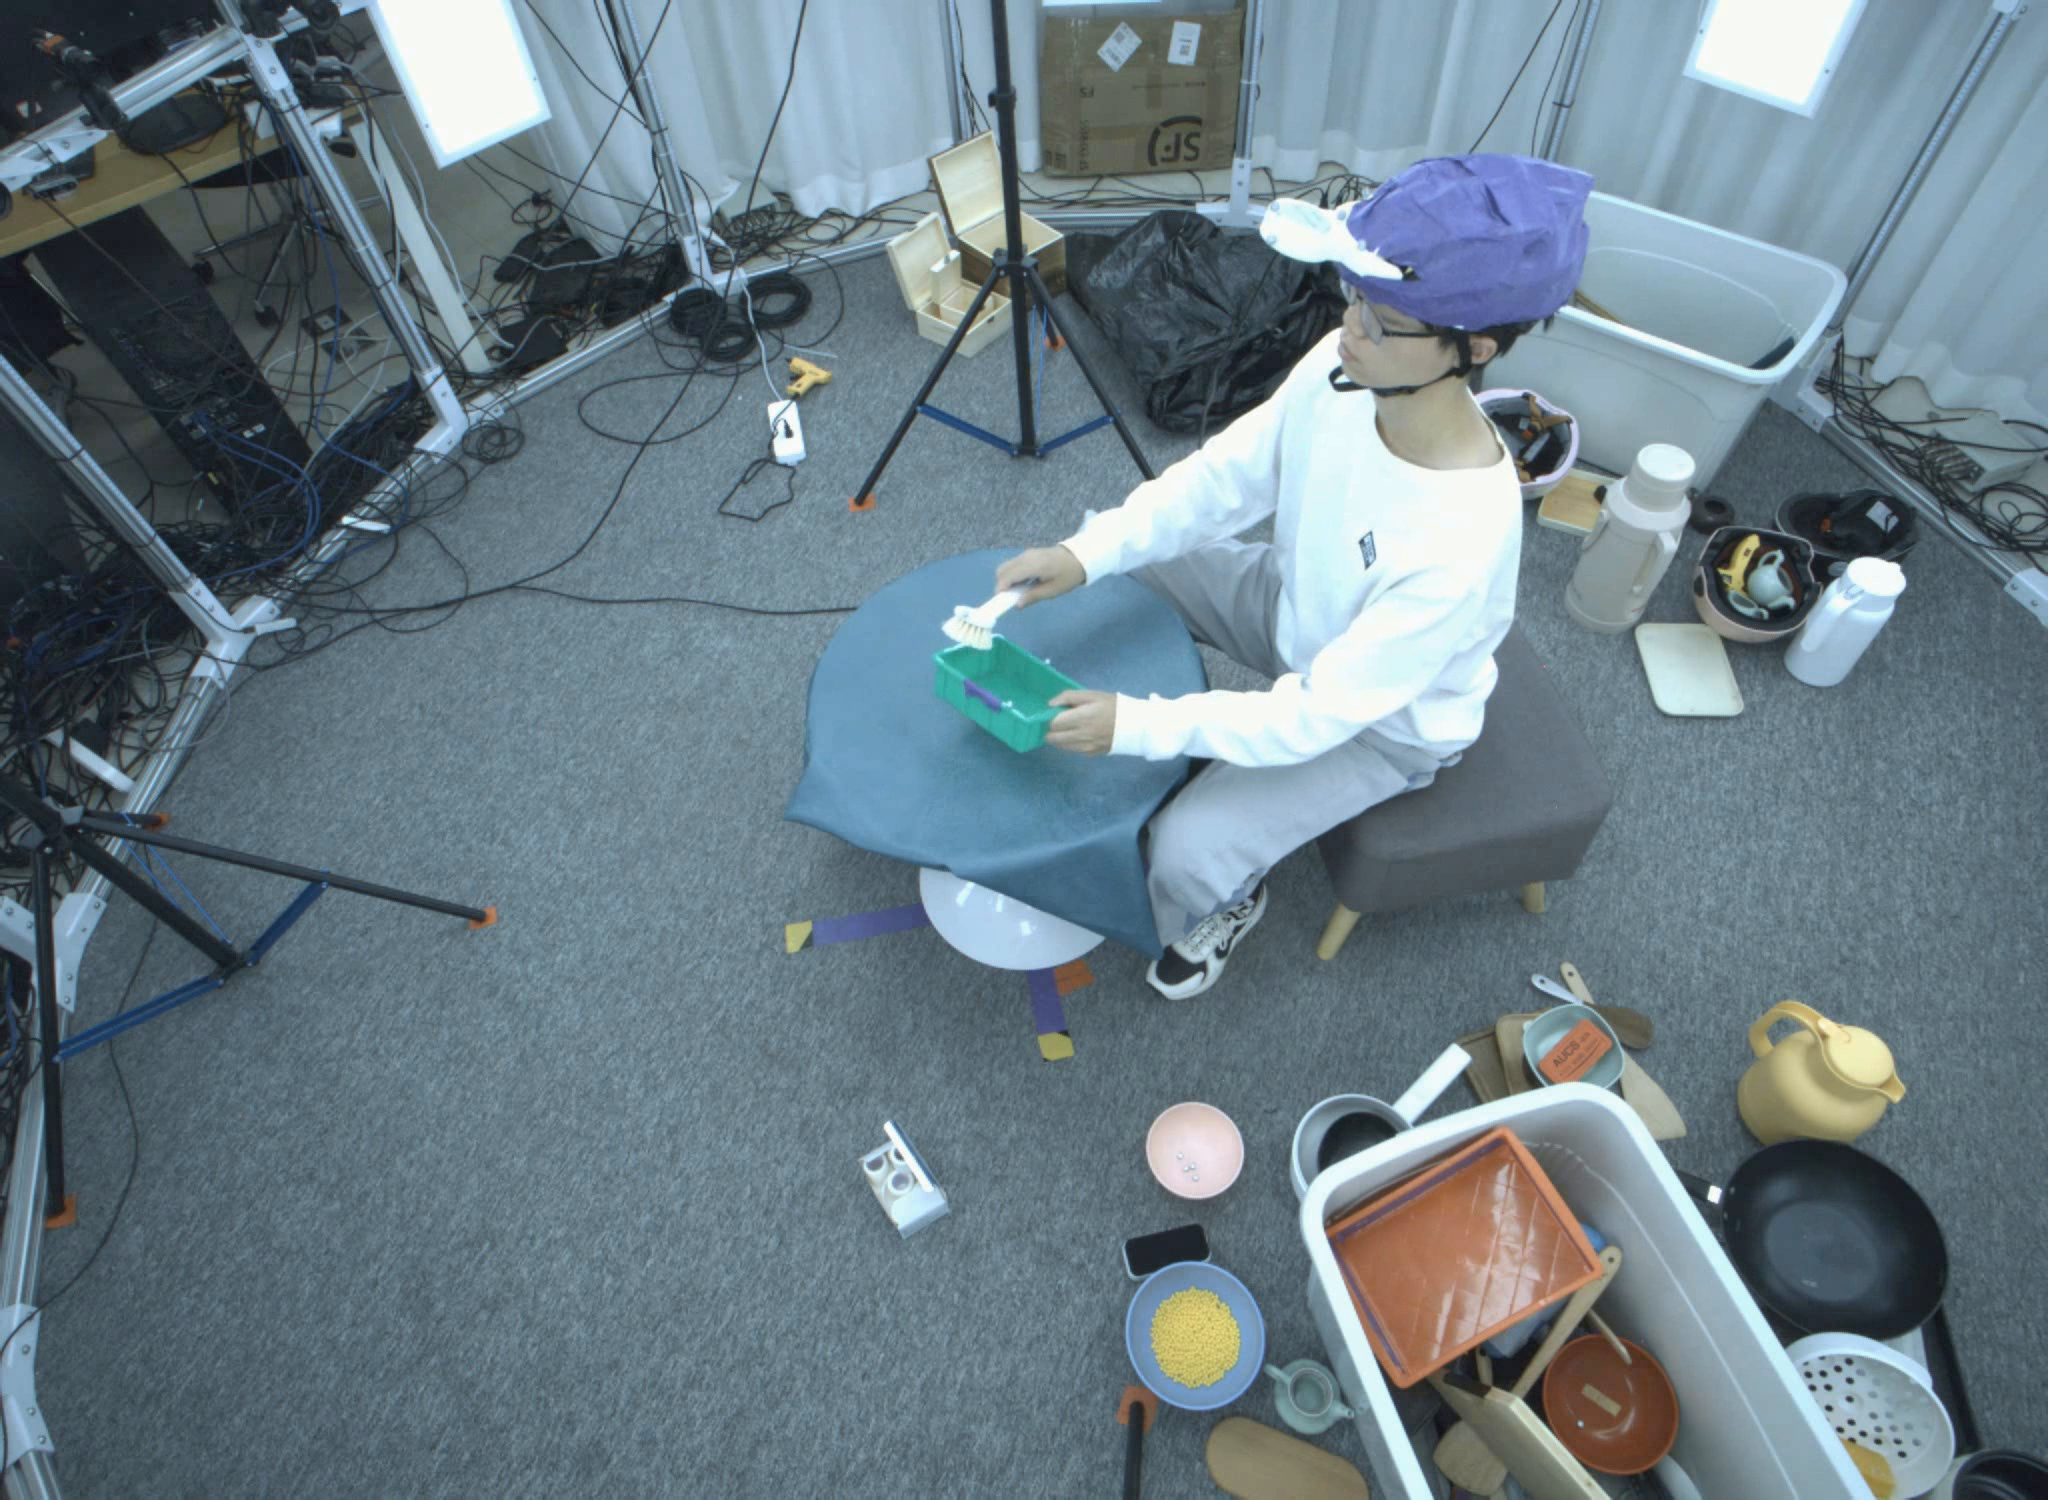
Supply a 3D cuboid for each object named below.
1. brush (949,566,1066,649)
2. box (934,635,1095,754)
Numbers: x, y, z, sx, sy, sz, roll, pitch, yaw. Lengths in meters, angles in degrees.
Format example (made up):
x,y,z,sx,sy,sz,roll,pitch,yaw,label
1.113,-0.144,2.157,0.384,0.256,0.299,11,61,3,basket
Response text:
x,y,z,sx,sy,sz,roll,pitch,yaw,label
-0.017,-0.209,1.778,0.068,0.056,0.269,39,35,11,brush
-0.018,-0.078,1.721,0.206,0.065,0.141,35,40,29,box
